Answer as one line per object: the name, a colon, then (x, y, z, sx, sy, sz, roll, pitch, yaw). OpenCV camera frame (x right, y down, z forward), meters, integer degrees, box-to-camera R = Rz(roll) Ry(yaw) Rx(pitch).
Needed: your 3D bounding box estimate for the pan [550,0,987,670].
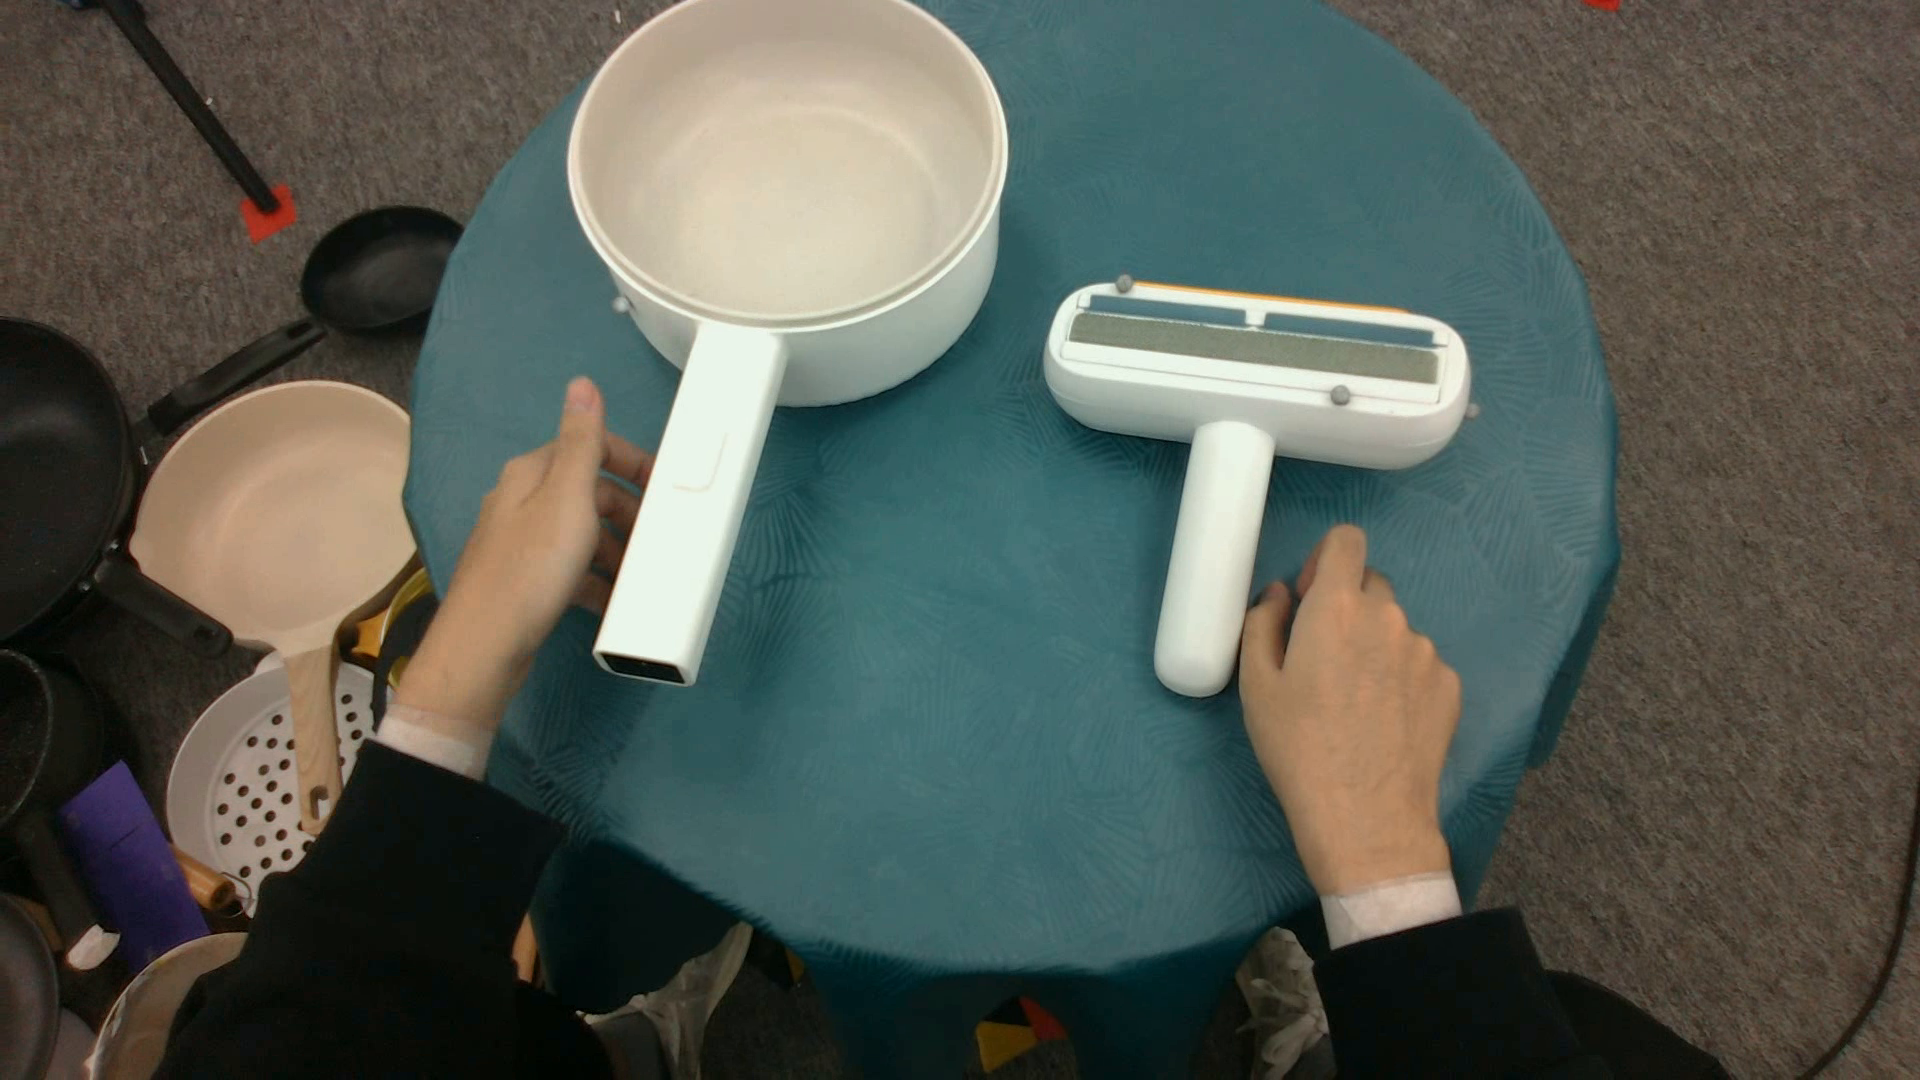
pan: (-0.101, -0.101, 0.643, 0.201, 0.102, 0.356, 9, 67, 4)

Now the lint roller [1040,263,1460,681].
lint roller: (0.116, -0.030, 0.632, 0.193, 0.074, 0.193, 15, 69, 12)
